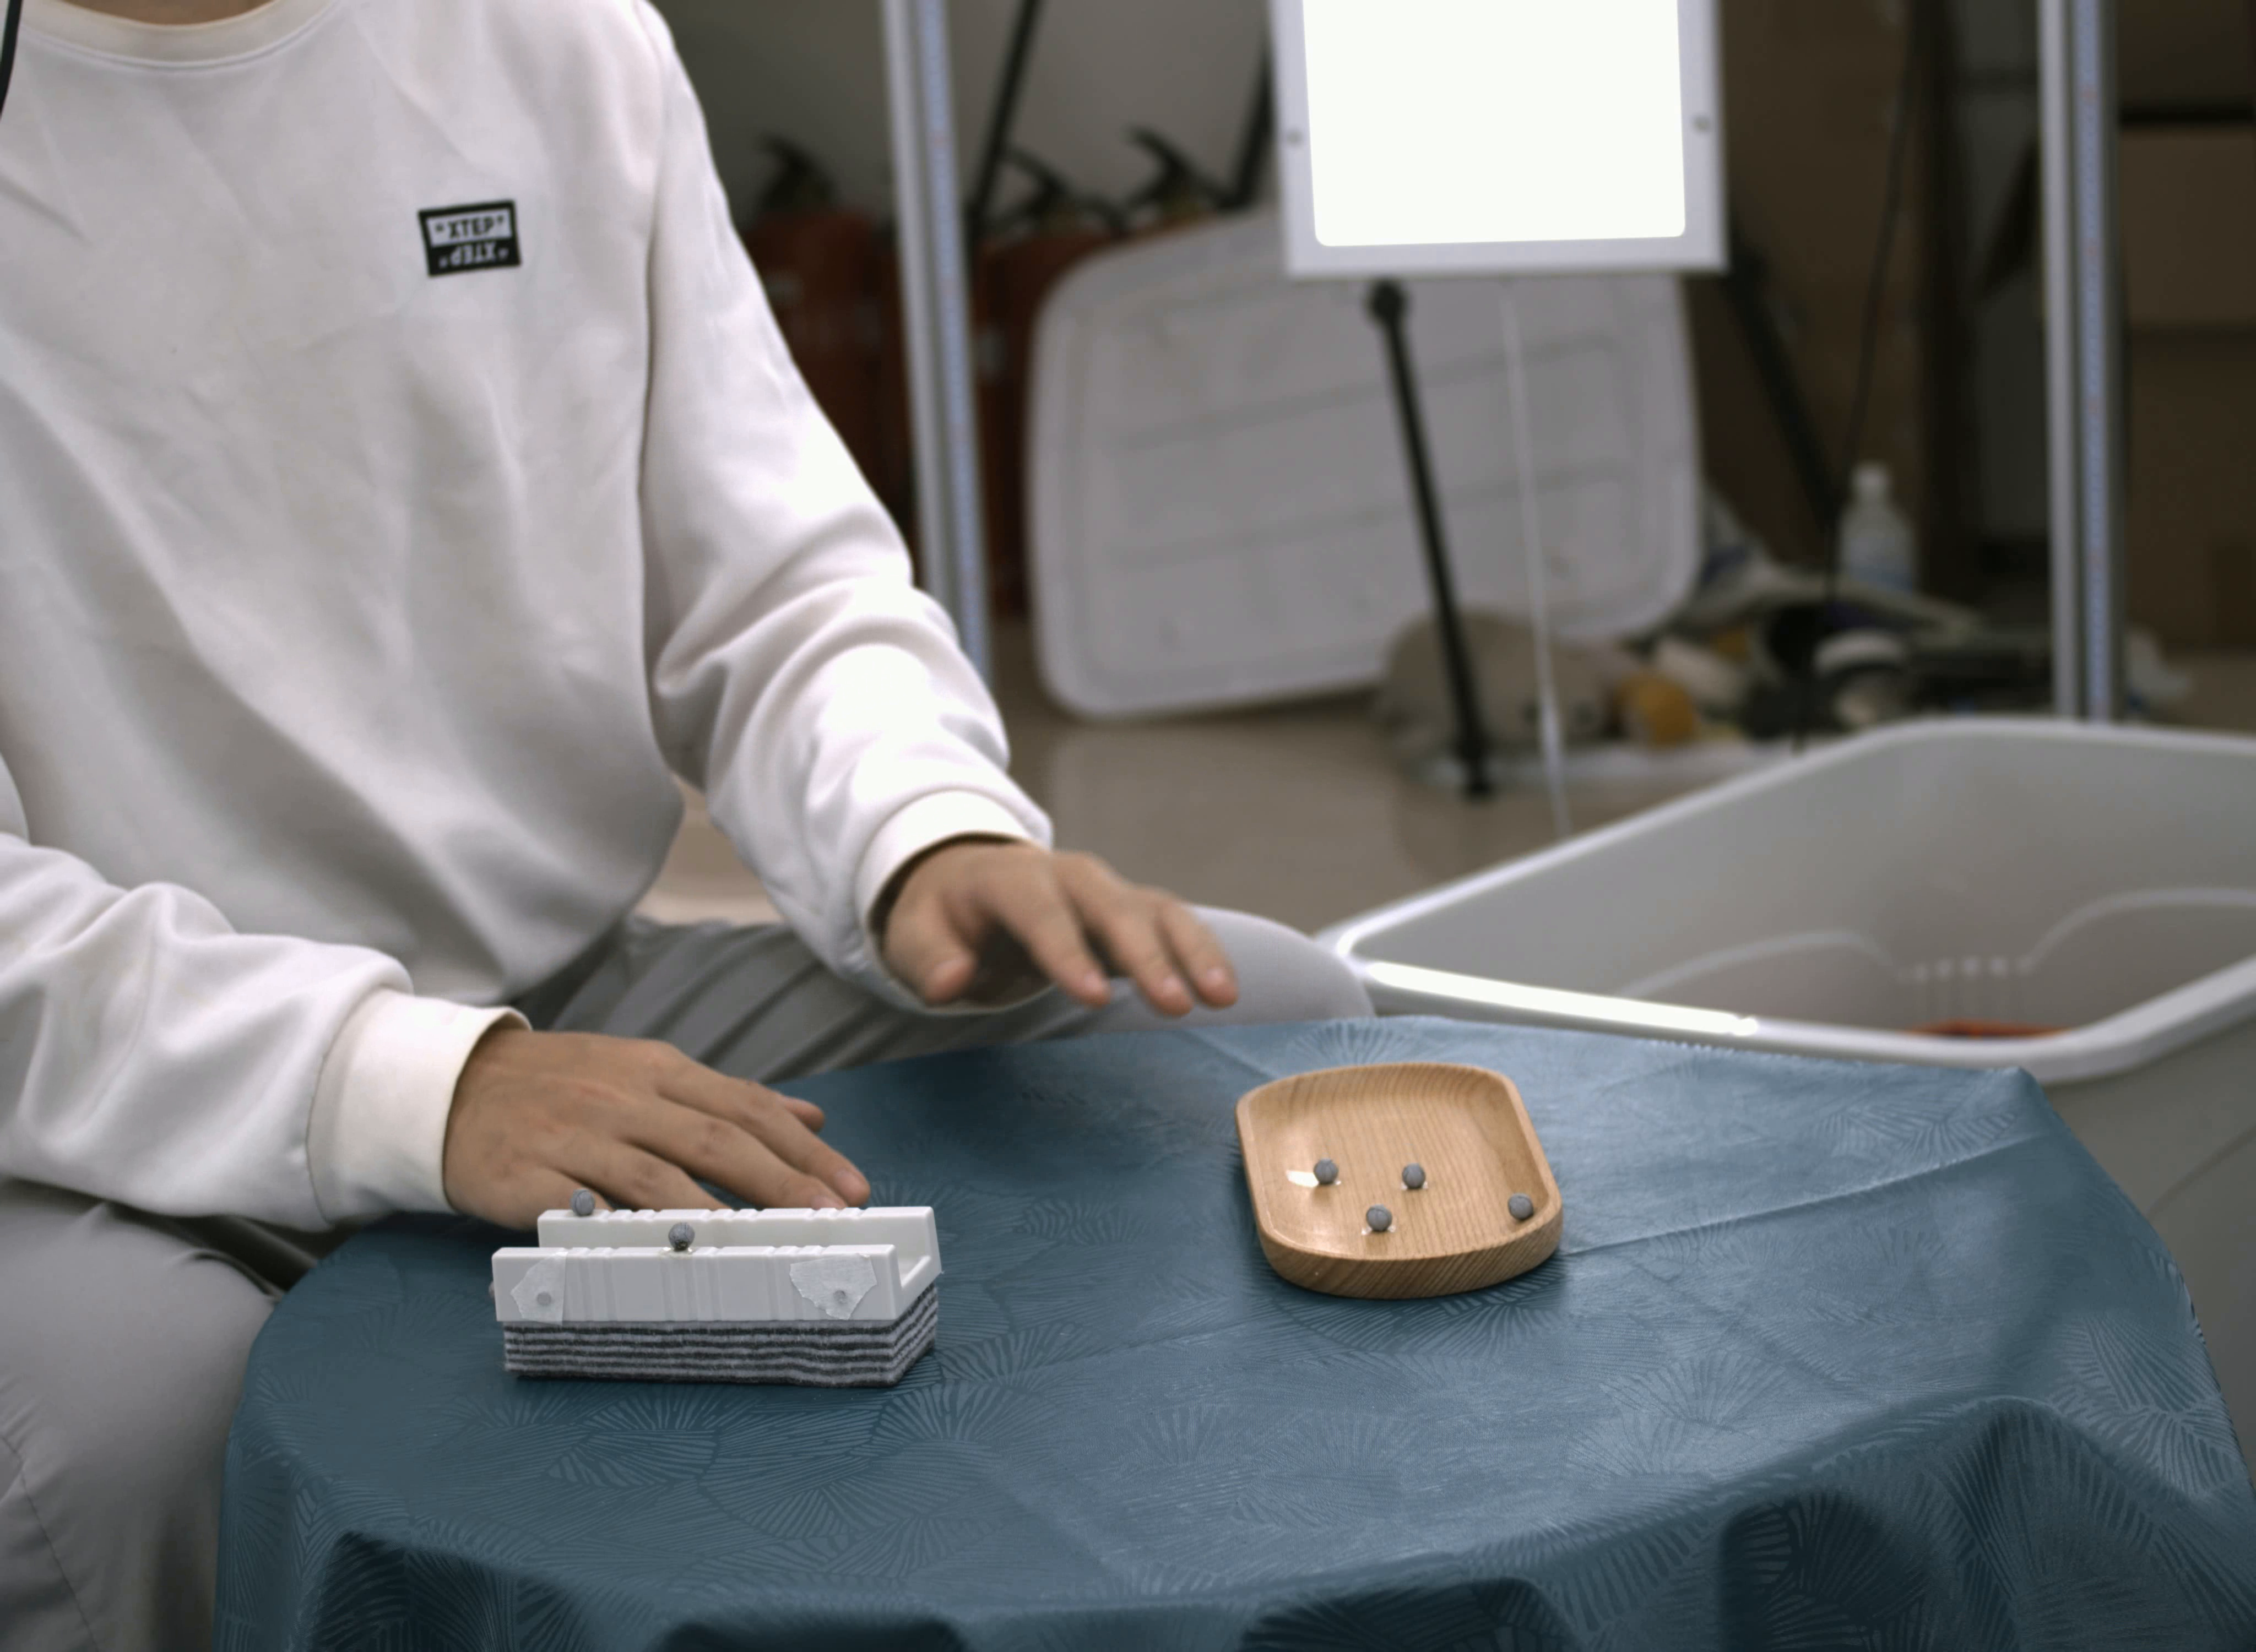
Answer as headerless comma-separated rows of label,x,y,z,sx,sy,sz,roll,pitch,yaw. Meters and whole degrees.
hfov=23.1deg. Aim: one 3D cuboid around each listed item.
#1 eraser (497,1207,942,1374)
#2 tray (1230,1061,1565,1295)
eraser,-0.129,0.147,1.757,0.135,0.047,0.049,-2,8,15
tray,0.090,0.118,1.869,0.101,0.020,0.231,-5,12,-2
